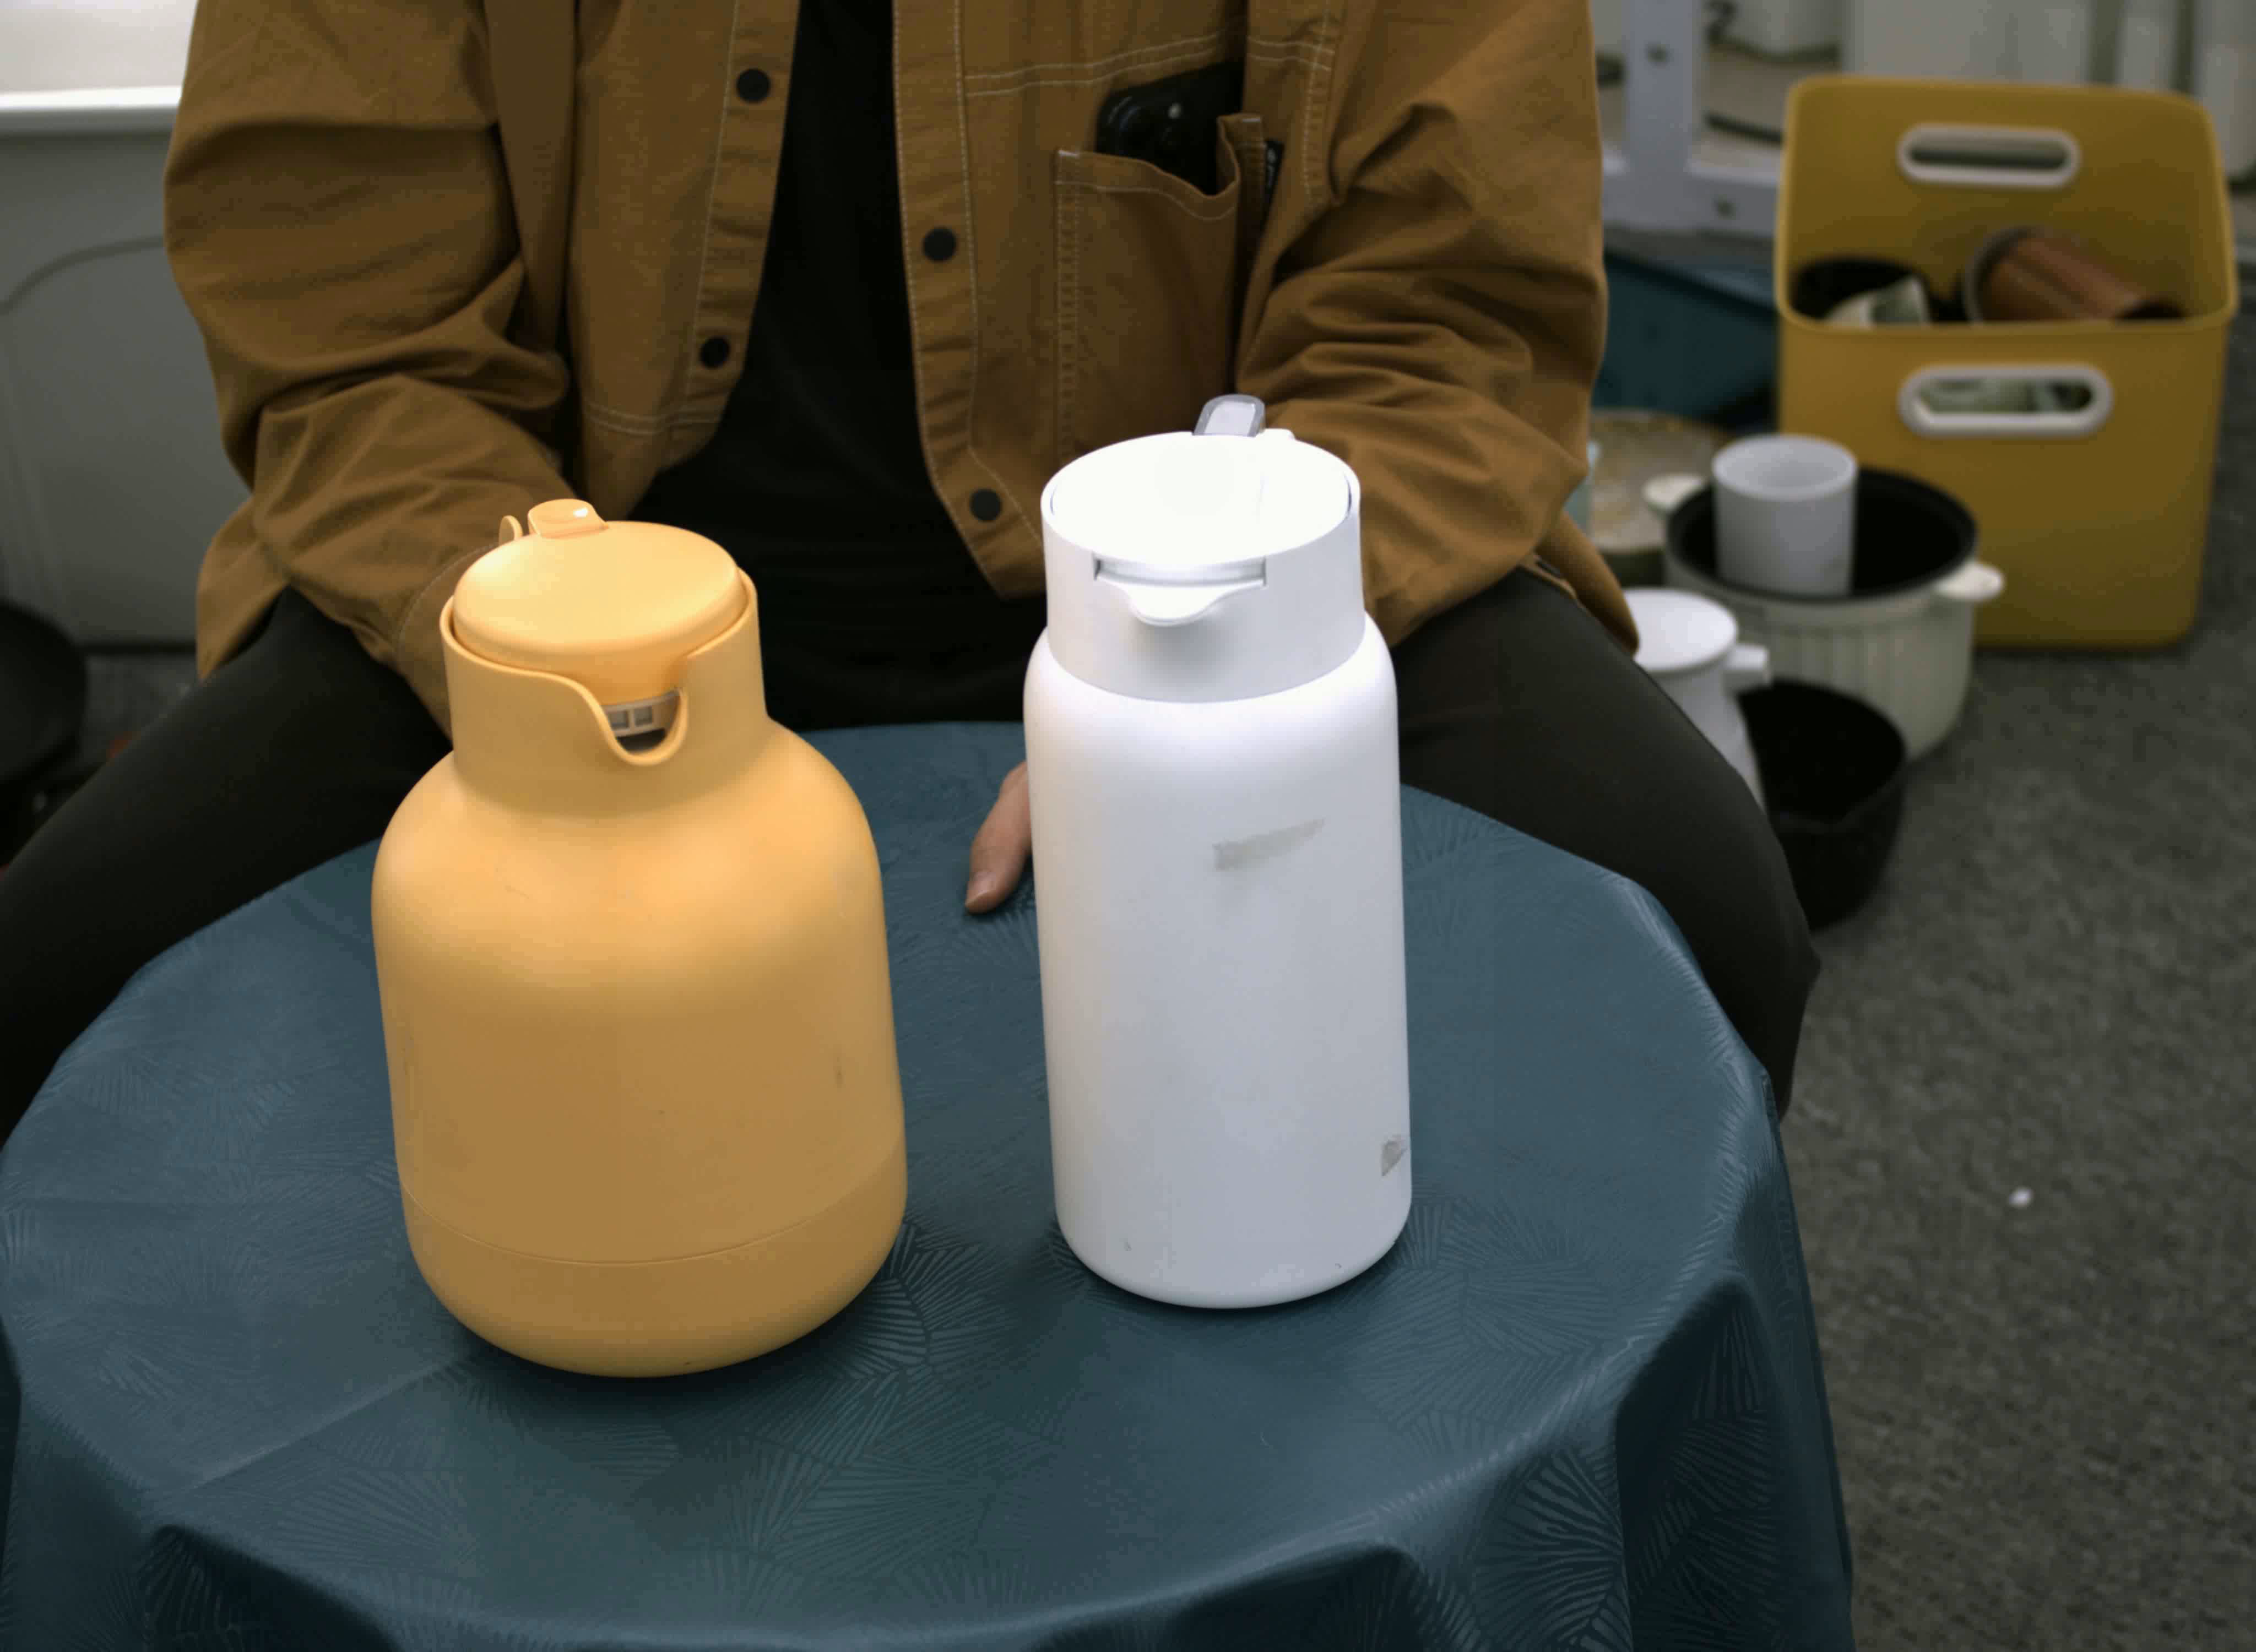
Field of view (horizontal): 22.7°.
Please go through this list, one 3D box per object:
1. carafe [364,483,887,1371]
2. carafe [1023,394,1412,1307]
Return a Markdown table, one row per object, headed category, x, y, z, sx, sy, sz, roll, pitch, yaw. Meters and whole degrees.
| category | x | y | z | sx | sy | sz | roll | pitch | yaw |
| --- | --- | --- | --- | --- | --- | --- | --- | --- | --- |
| carafe | -0.162 | 0.022 | 1.782 | 0.163 | 0.257 | 0.205 | -5 | 28 | -13 |
| carafe | 0.030 | 0.004 | 1.795 | 0.123 | 0.266 | 0.175 | 0 | 26 | 10 |
